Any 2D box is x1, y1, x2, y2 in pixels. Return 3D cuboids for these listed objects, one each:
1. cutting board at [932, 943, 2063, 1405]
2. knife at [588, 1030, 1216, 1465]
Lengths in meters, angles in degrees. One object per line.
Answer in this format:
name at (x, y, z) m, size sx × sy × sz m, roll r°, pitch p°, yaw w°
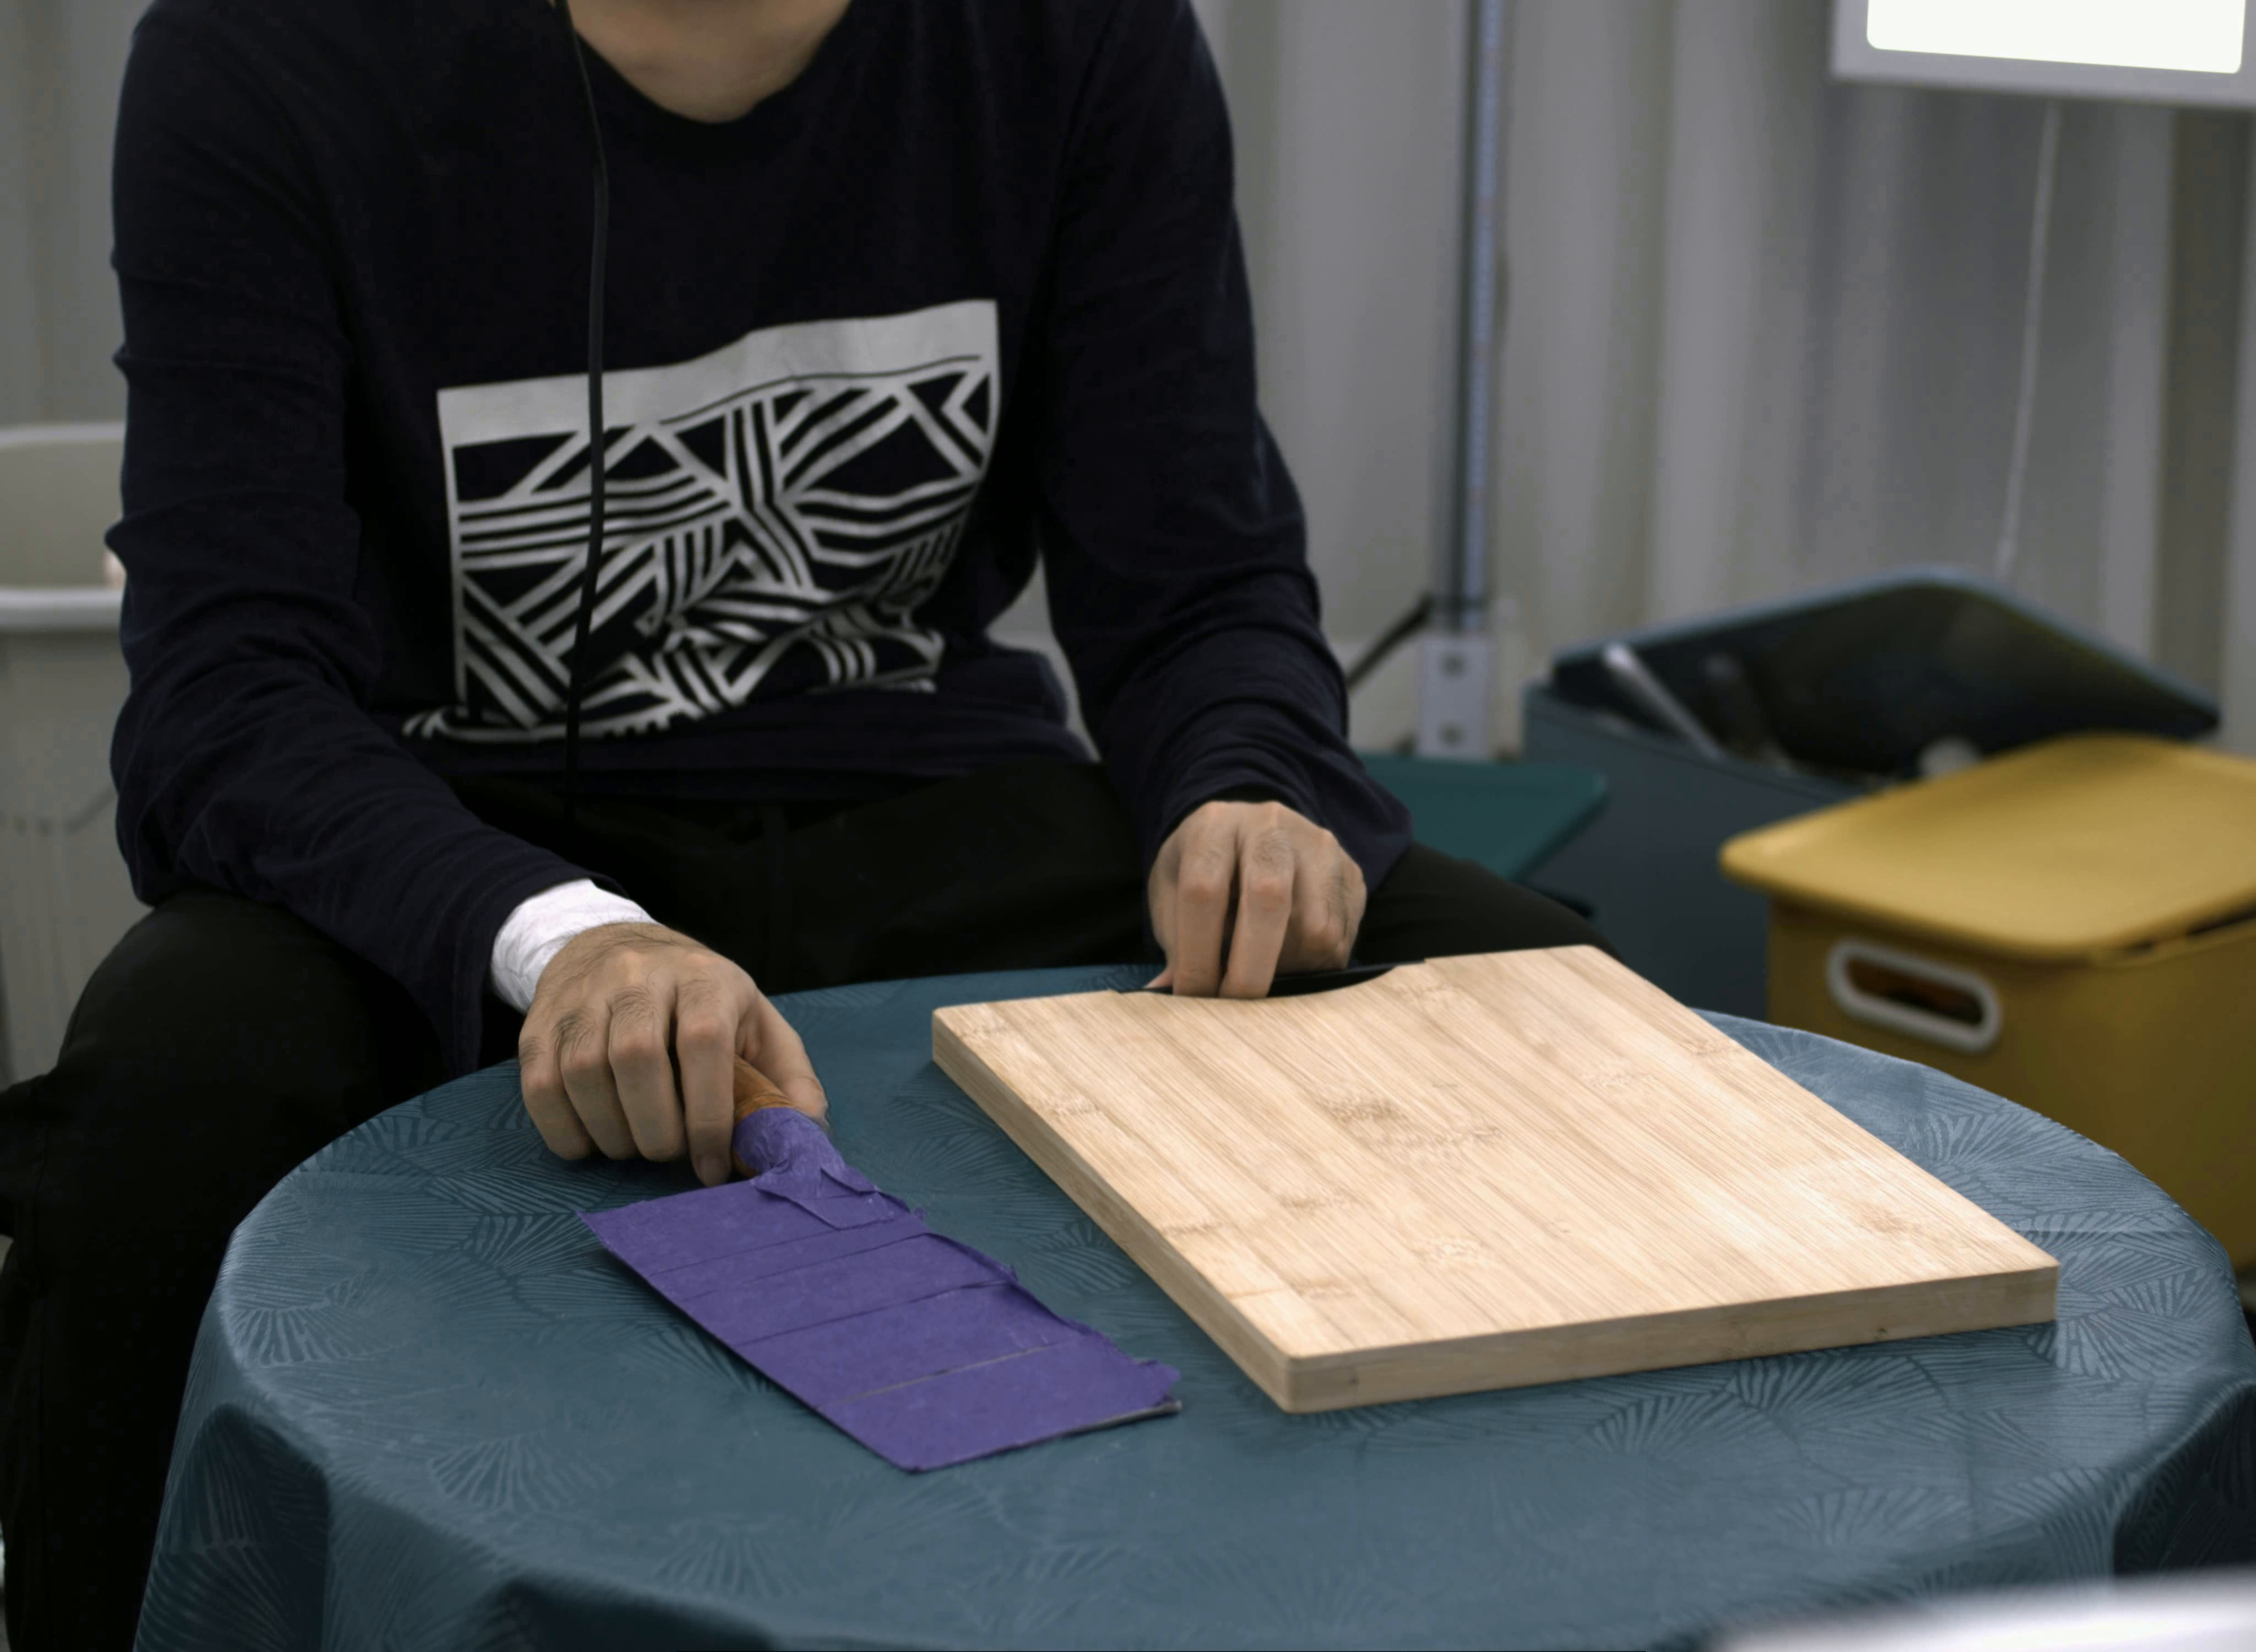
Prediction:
cutting board at (0.102, 0.102, 1.637) m, size 0.251 × 0.024 × 0.345 m, roll -5°, pitch 16°, yaw -19°
knife at (-0.099, 0.120, 1.545) m, size 0.104 × 0.032 × 0.311 m, roll -9°, pitch 18°, yaw -31°
